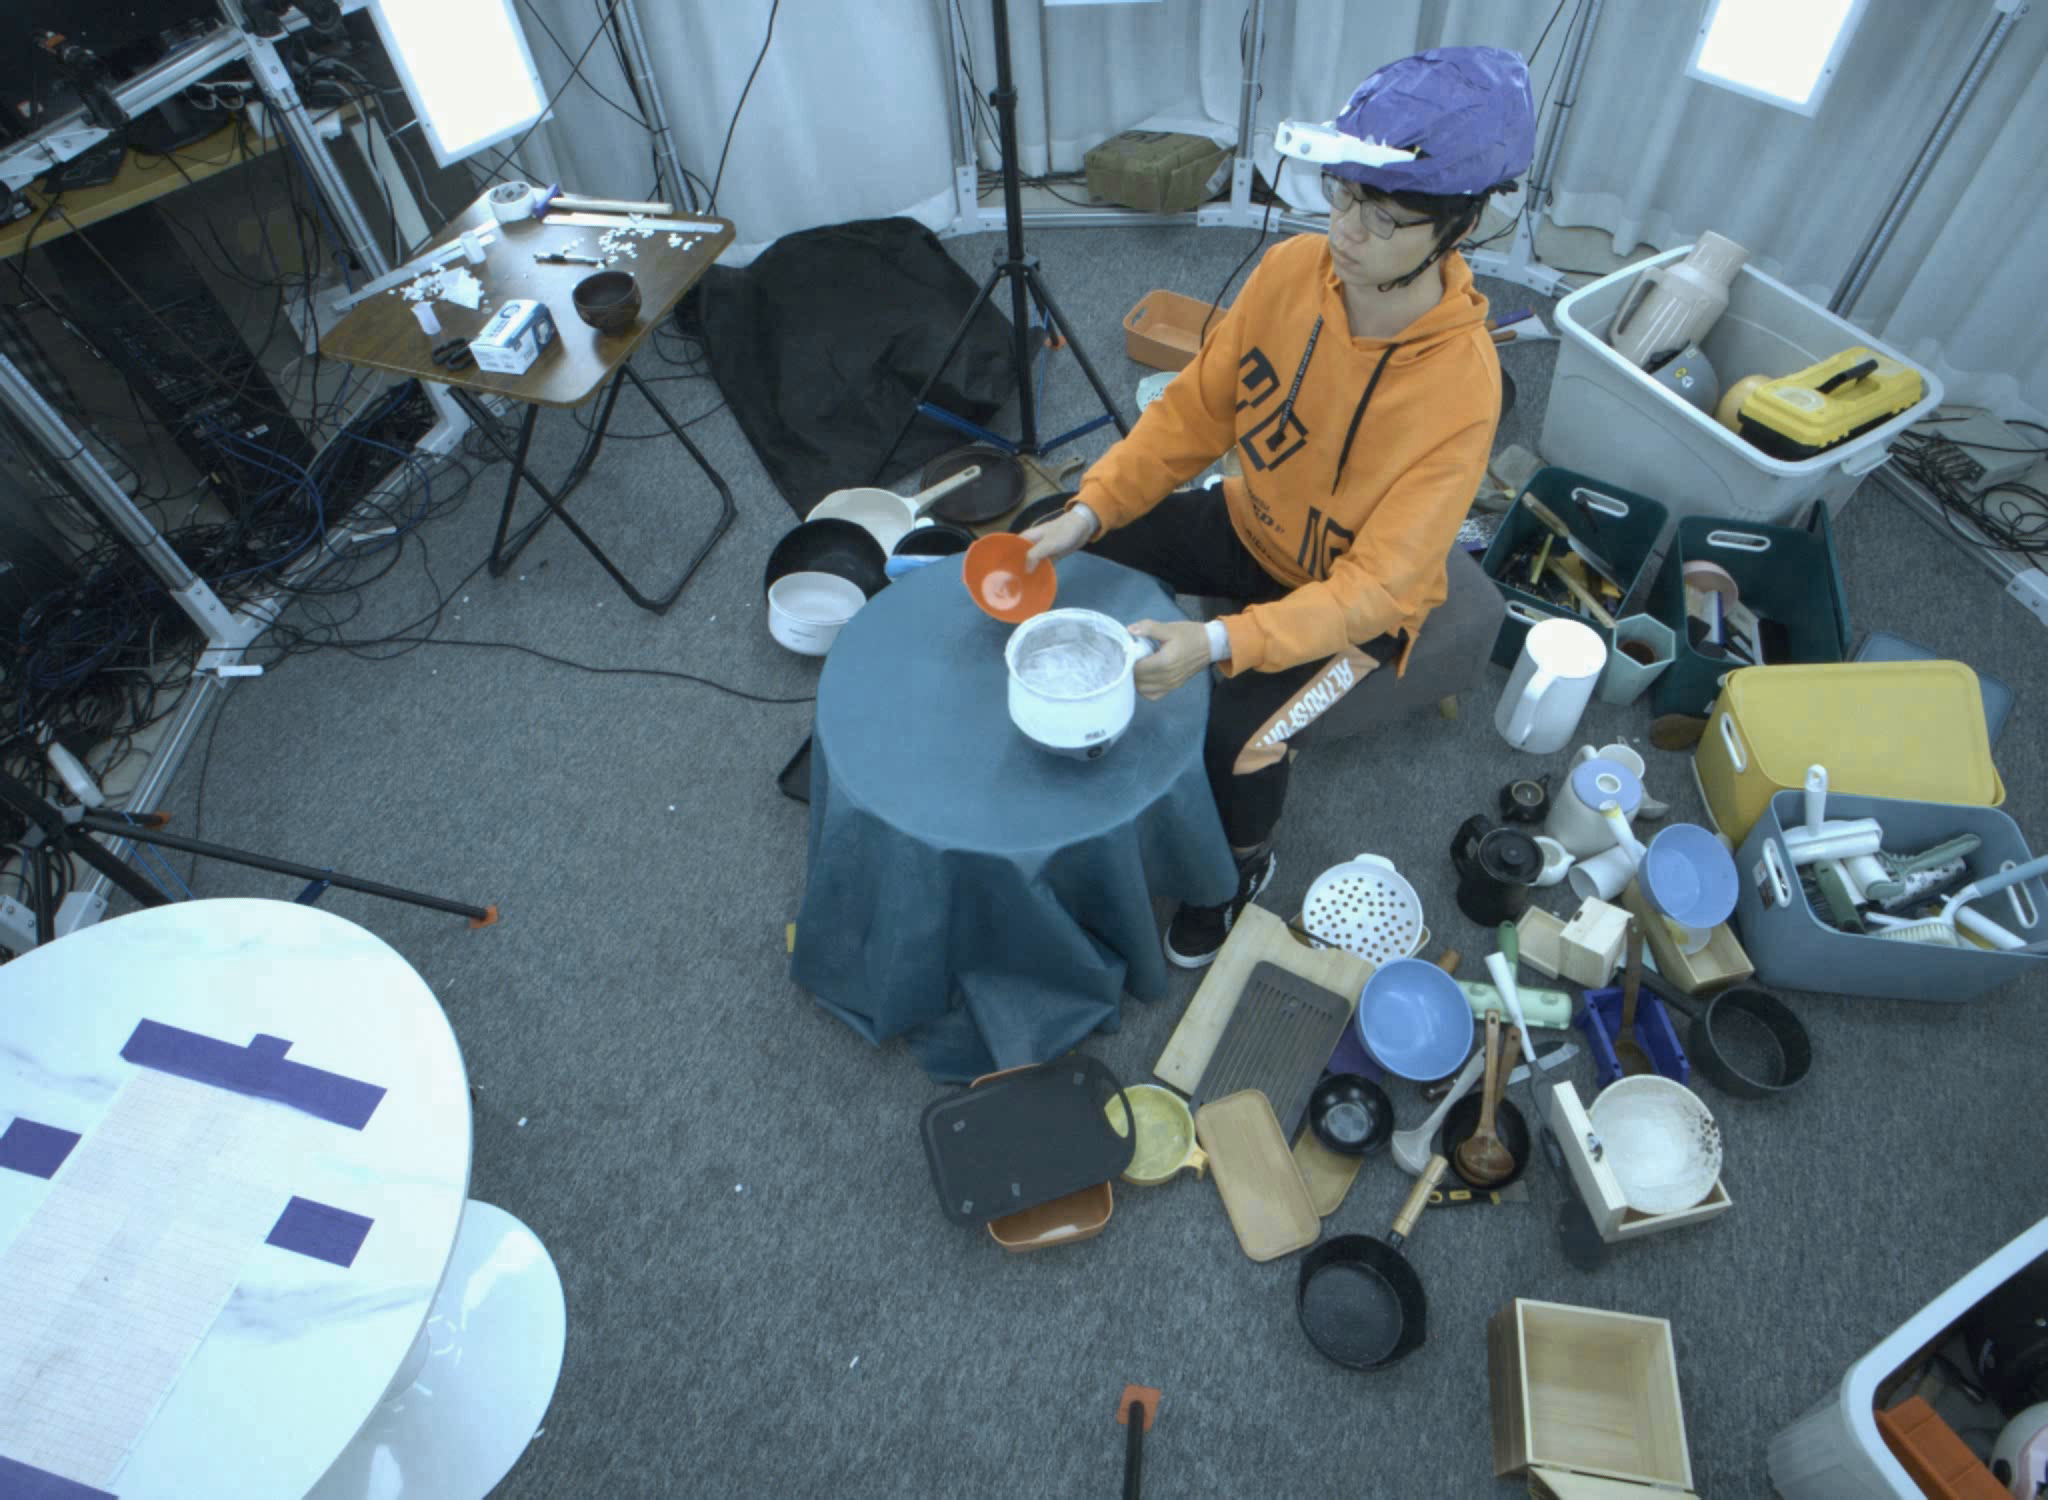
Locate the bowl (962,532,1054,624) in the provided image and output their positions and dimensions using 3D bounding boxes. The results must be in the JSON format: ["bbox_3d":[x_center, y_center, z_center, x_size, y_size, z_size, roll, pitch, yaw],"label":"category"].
[{"bbox_3d":[-0.035,-0.252,1.870,0.150,0.103,0.147,3,80,-18],"label":"bowl"}]

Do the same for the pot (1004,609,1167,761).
[{"bbox_3d":[0.090,-0.098,1.718,0.236,0.138,0.175,-18,52,-14],"label":"pot"}]
